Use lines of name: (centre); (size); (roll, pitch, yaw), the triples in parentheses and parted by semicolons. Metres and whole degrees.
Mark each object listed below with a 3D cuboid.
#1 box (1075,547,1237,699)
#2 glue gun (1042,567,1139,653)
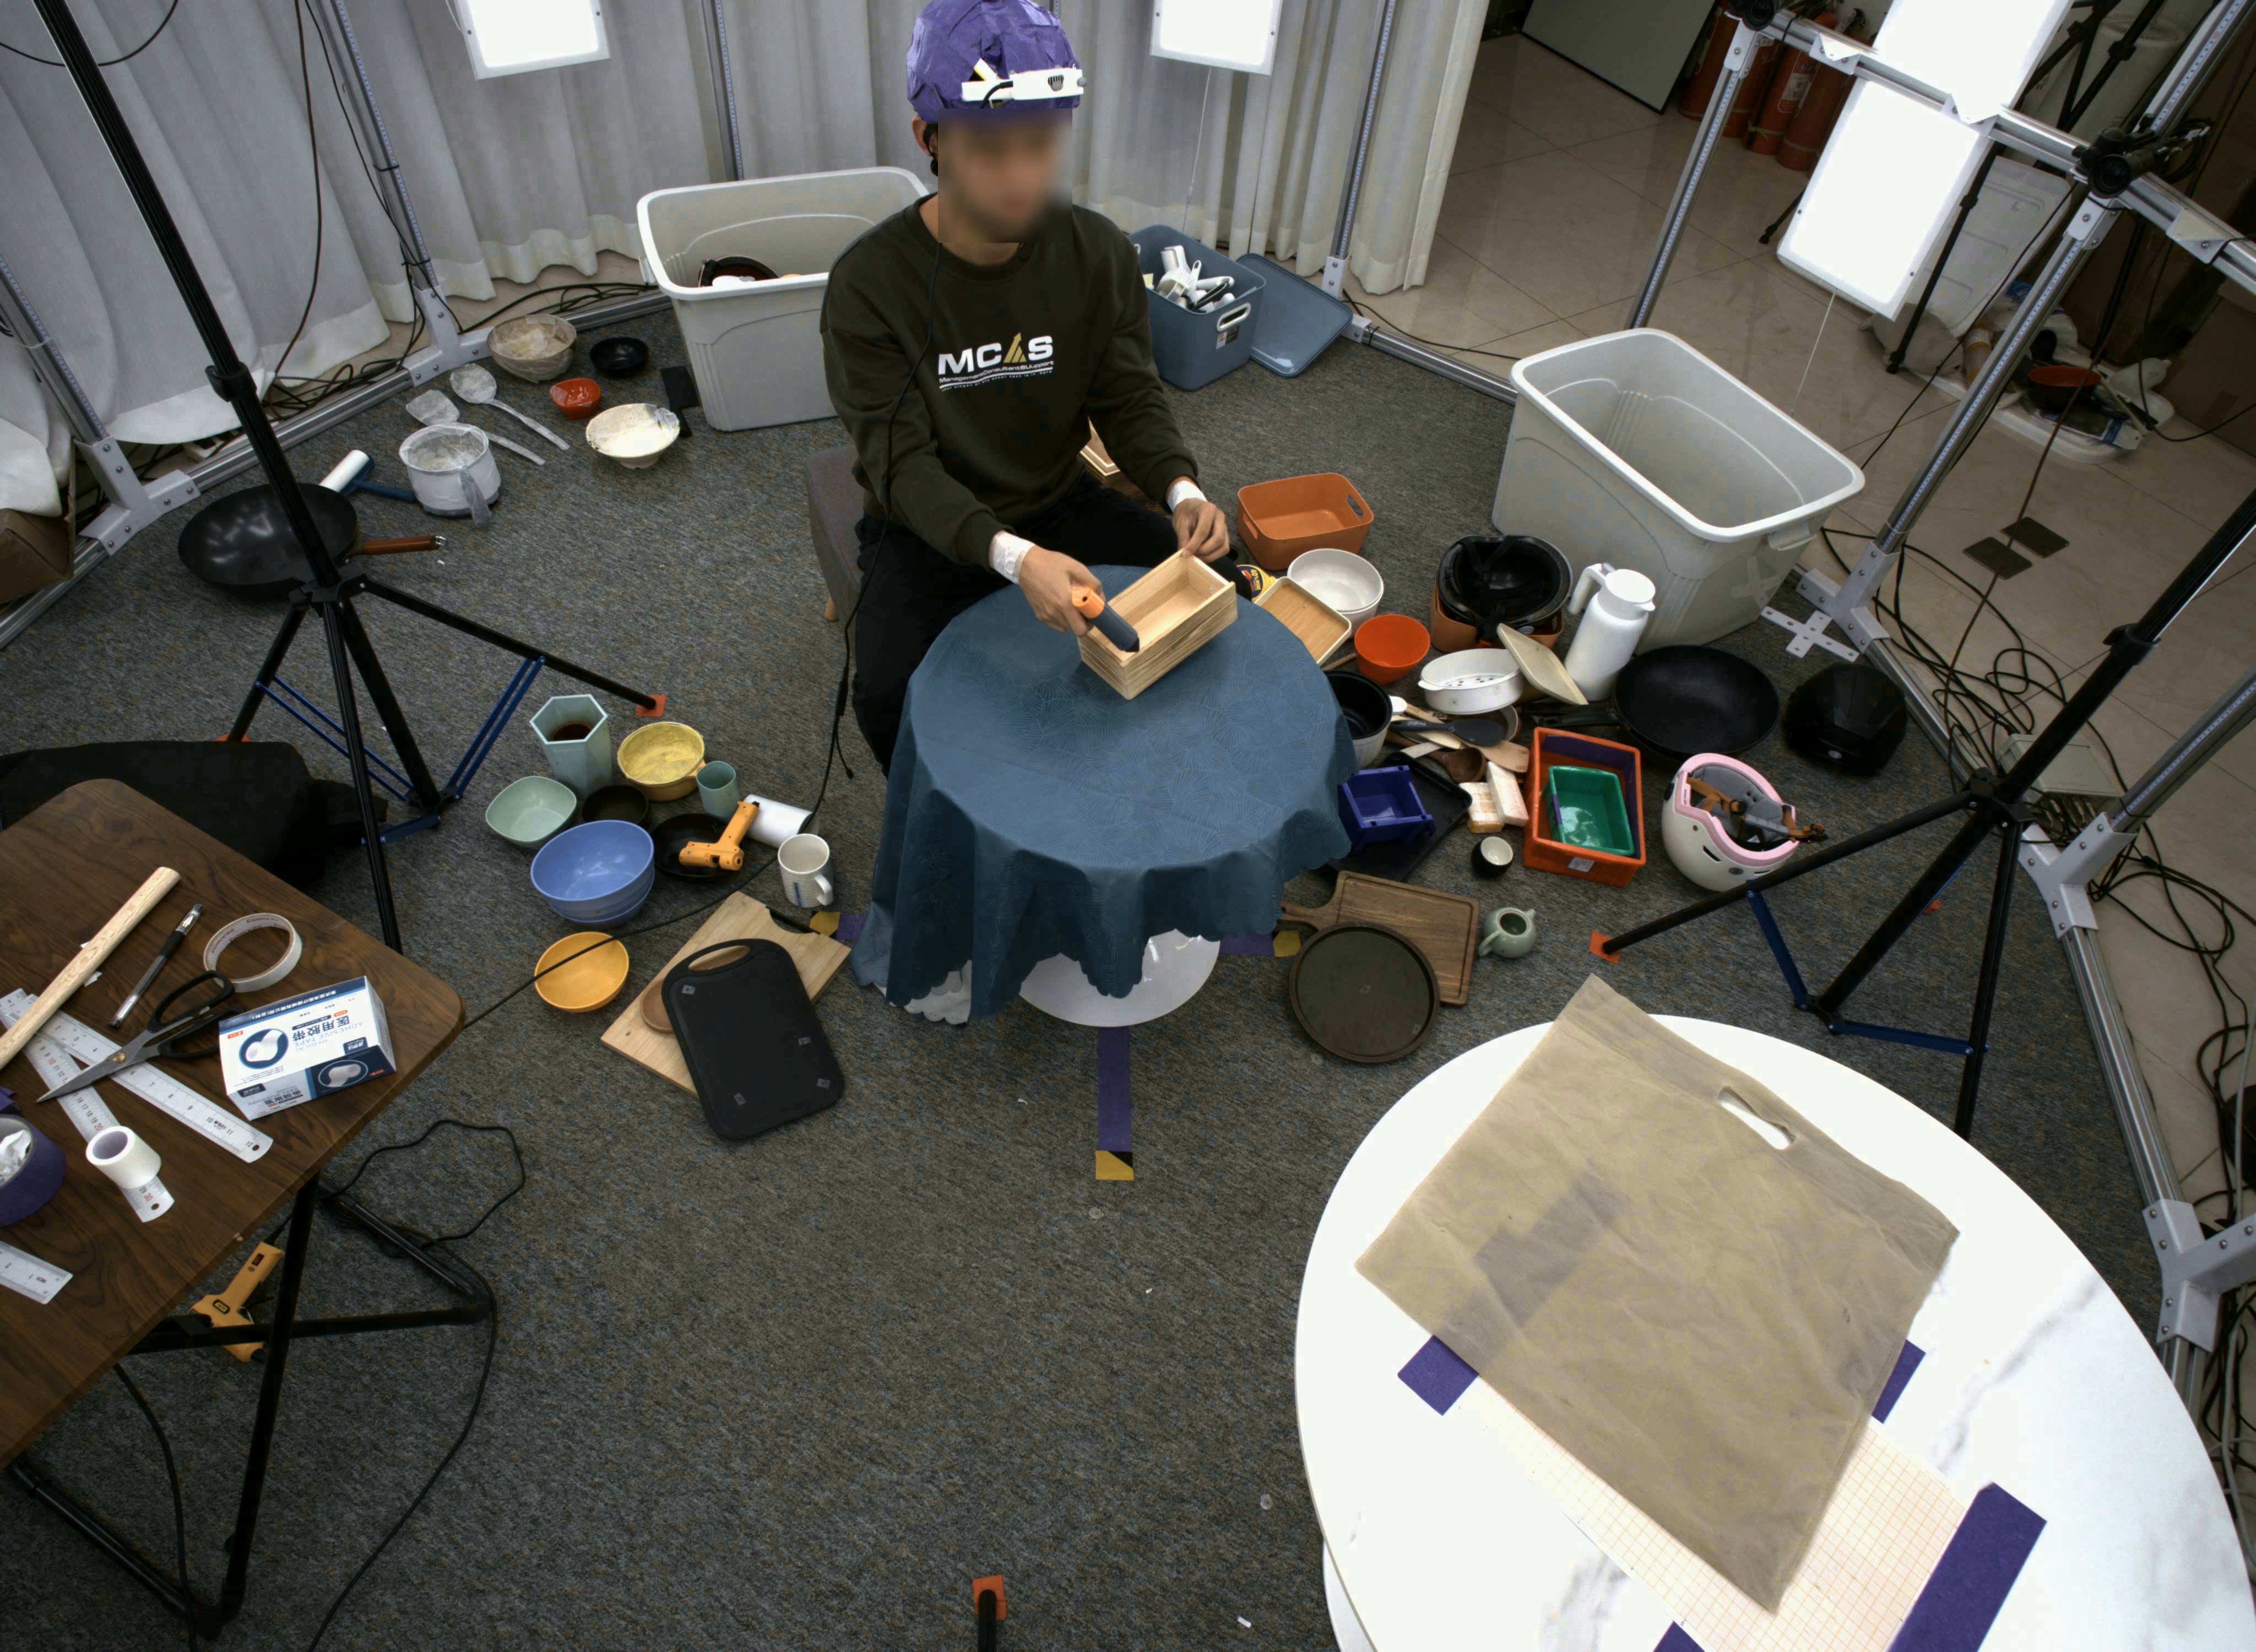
box: (0.042, -0.292, 1.839); (0.213, 0.078, 0.109); (-38, 60, -17)
glue gun: (-0.050, -0.295, 1.761); (0.041, 0.115, 0.142); (-48, 50, -2)
